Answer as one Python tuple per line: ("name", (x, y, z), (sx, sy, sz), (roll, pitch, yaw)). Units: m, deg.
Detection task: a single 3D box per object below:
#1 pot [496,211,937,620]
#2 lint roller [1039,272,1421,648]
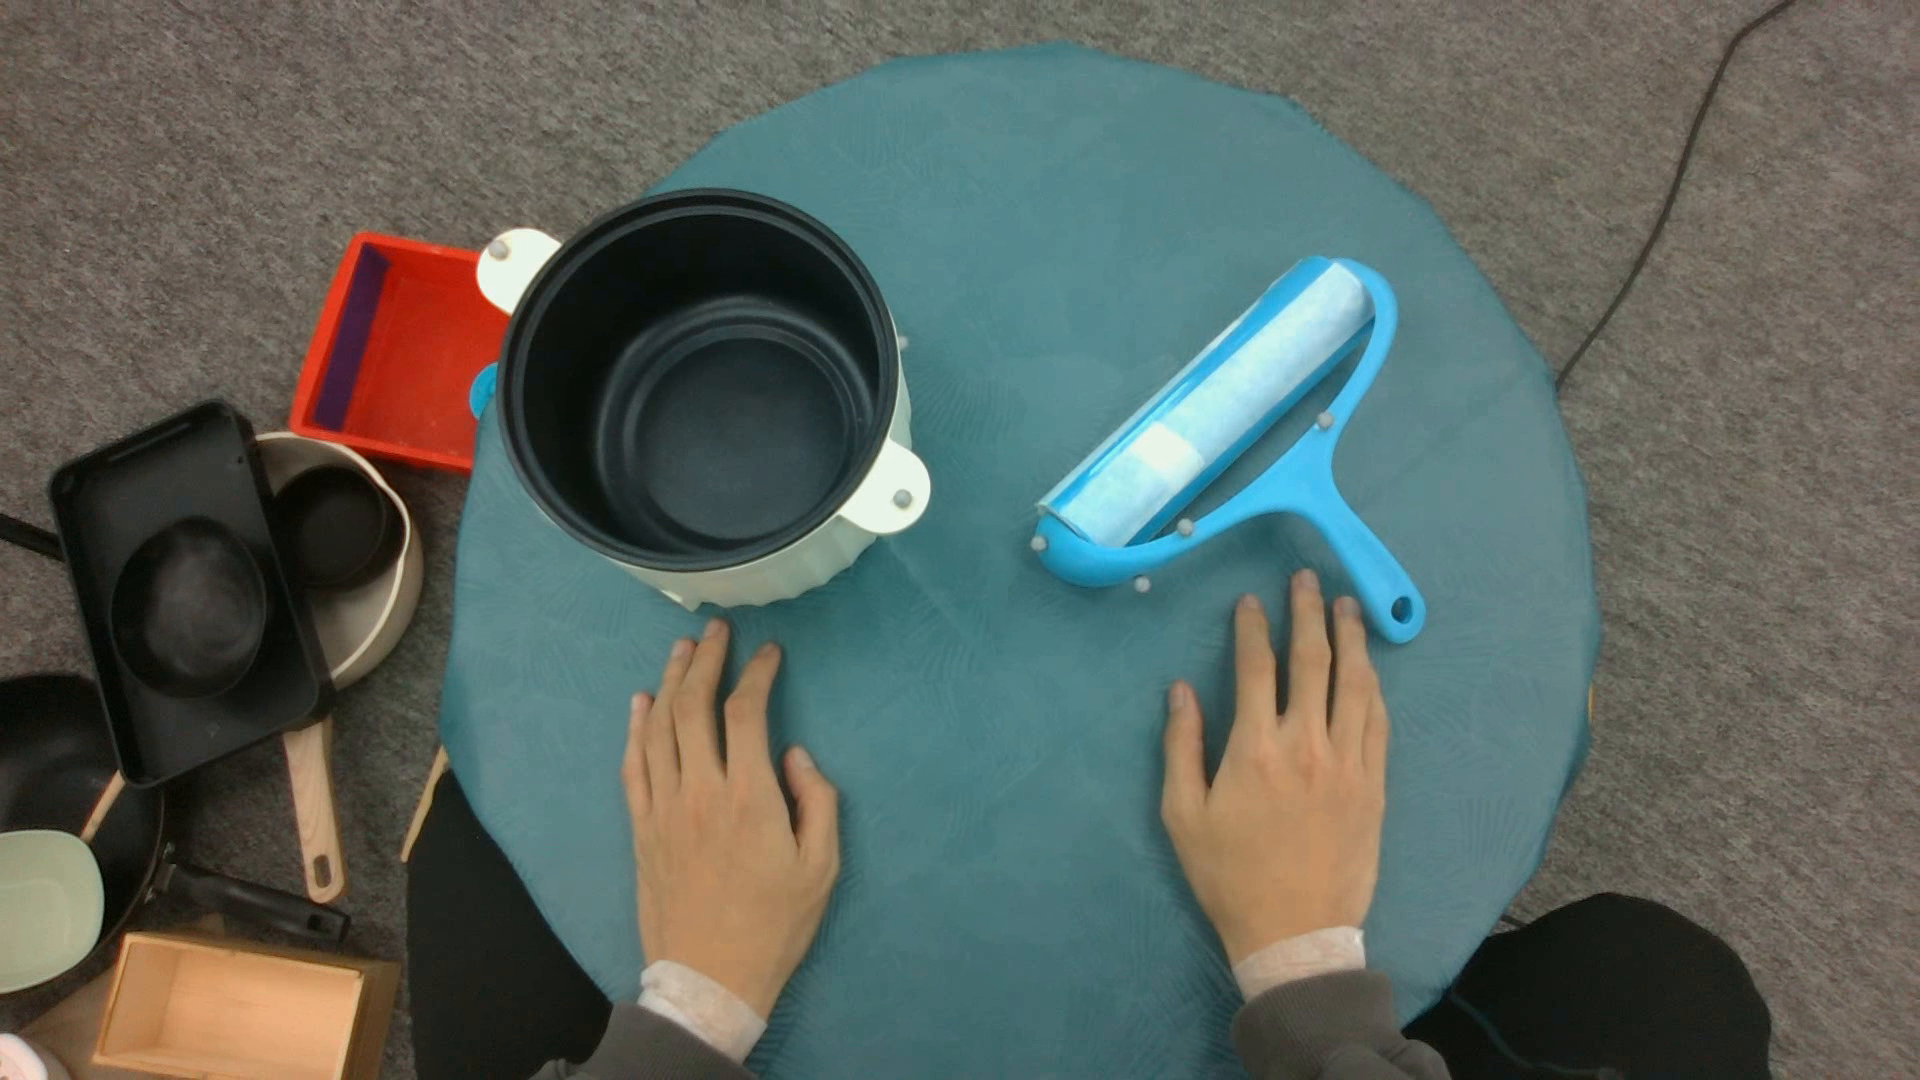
("pot", (-0.109, -0.059, 0.697), (0.240, 0.142, 0.191), (30, 83, 9))
("lint roller", (0.172, -0.019, 0.710), (0.229, 0.068, 0.180), (-44, 76, -9))
